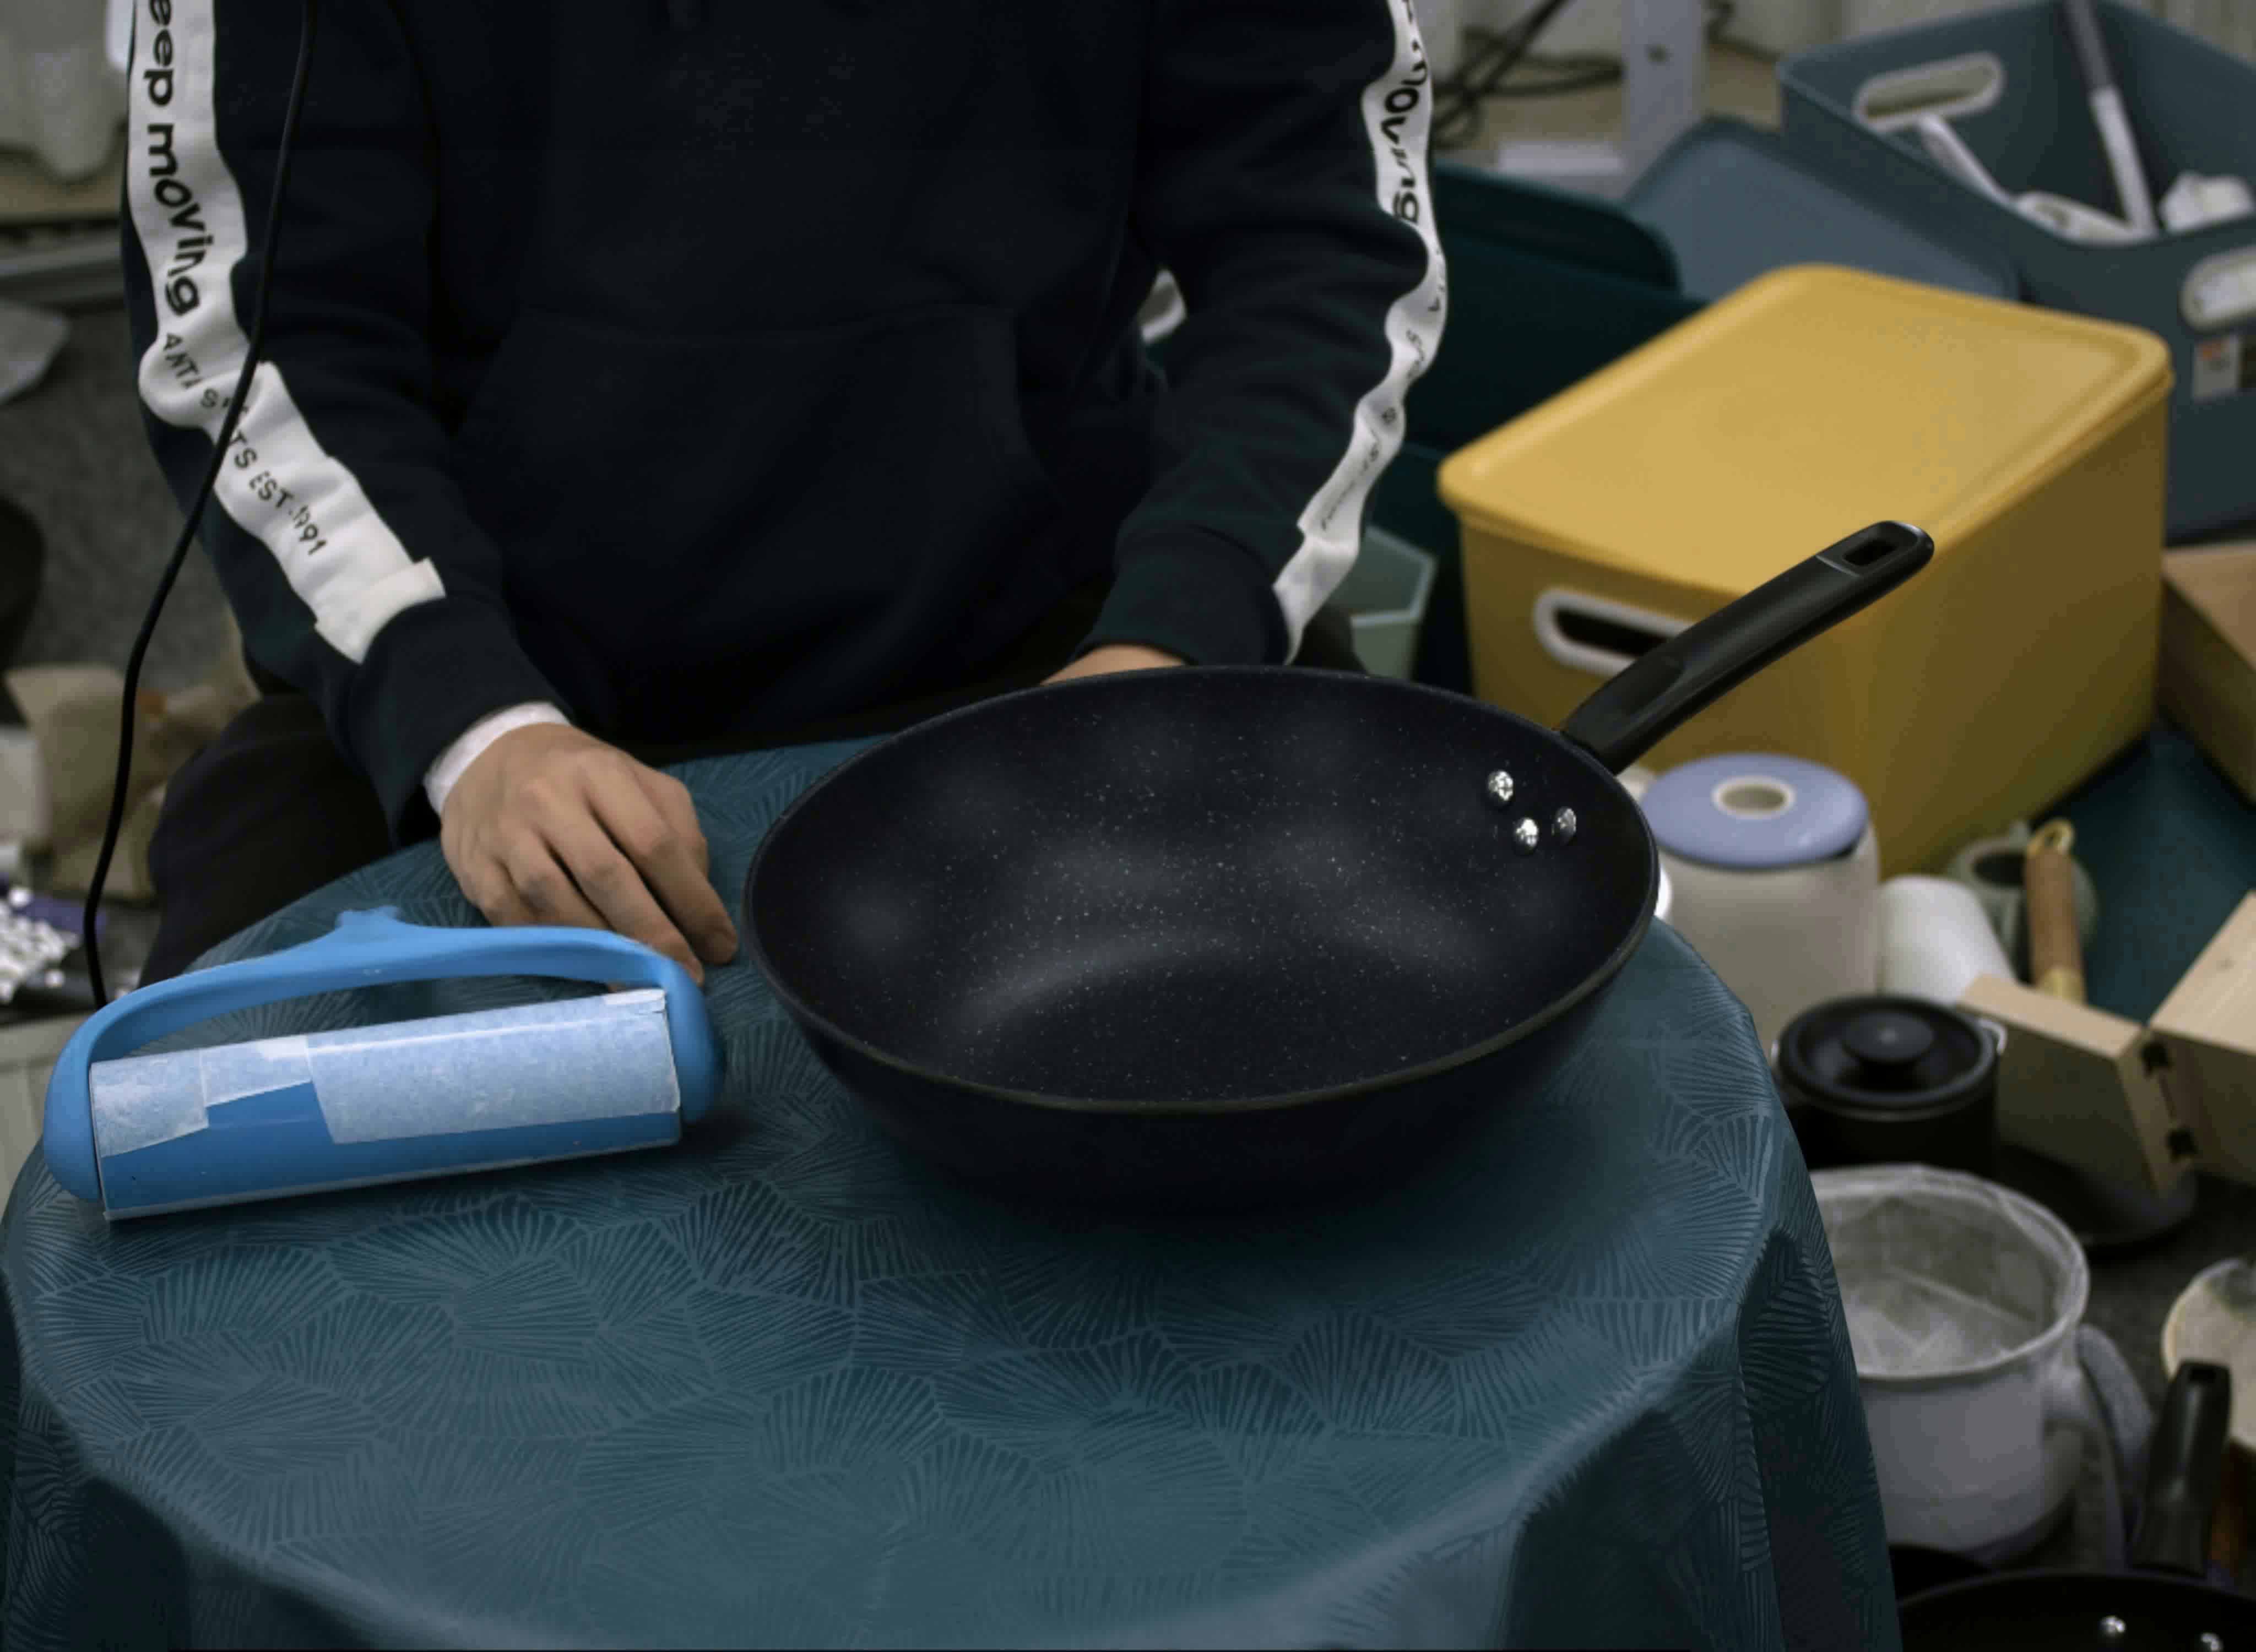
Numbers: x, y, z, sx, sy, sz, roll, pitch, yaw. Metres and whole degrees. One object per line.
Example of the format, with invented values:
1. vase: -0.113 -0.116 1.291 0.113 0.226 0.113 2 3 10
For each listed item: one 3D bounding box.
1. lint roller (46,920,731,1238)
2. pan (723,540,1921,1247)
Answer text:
1. lint roller: -0.260 0.068 1.929 0.229 0.067 0.182 -11 30 -10
2. pan: 0.088 0.020 1.933 0.481 0.110 0.311 -21 34 -30
